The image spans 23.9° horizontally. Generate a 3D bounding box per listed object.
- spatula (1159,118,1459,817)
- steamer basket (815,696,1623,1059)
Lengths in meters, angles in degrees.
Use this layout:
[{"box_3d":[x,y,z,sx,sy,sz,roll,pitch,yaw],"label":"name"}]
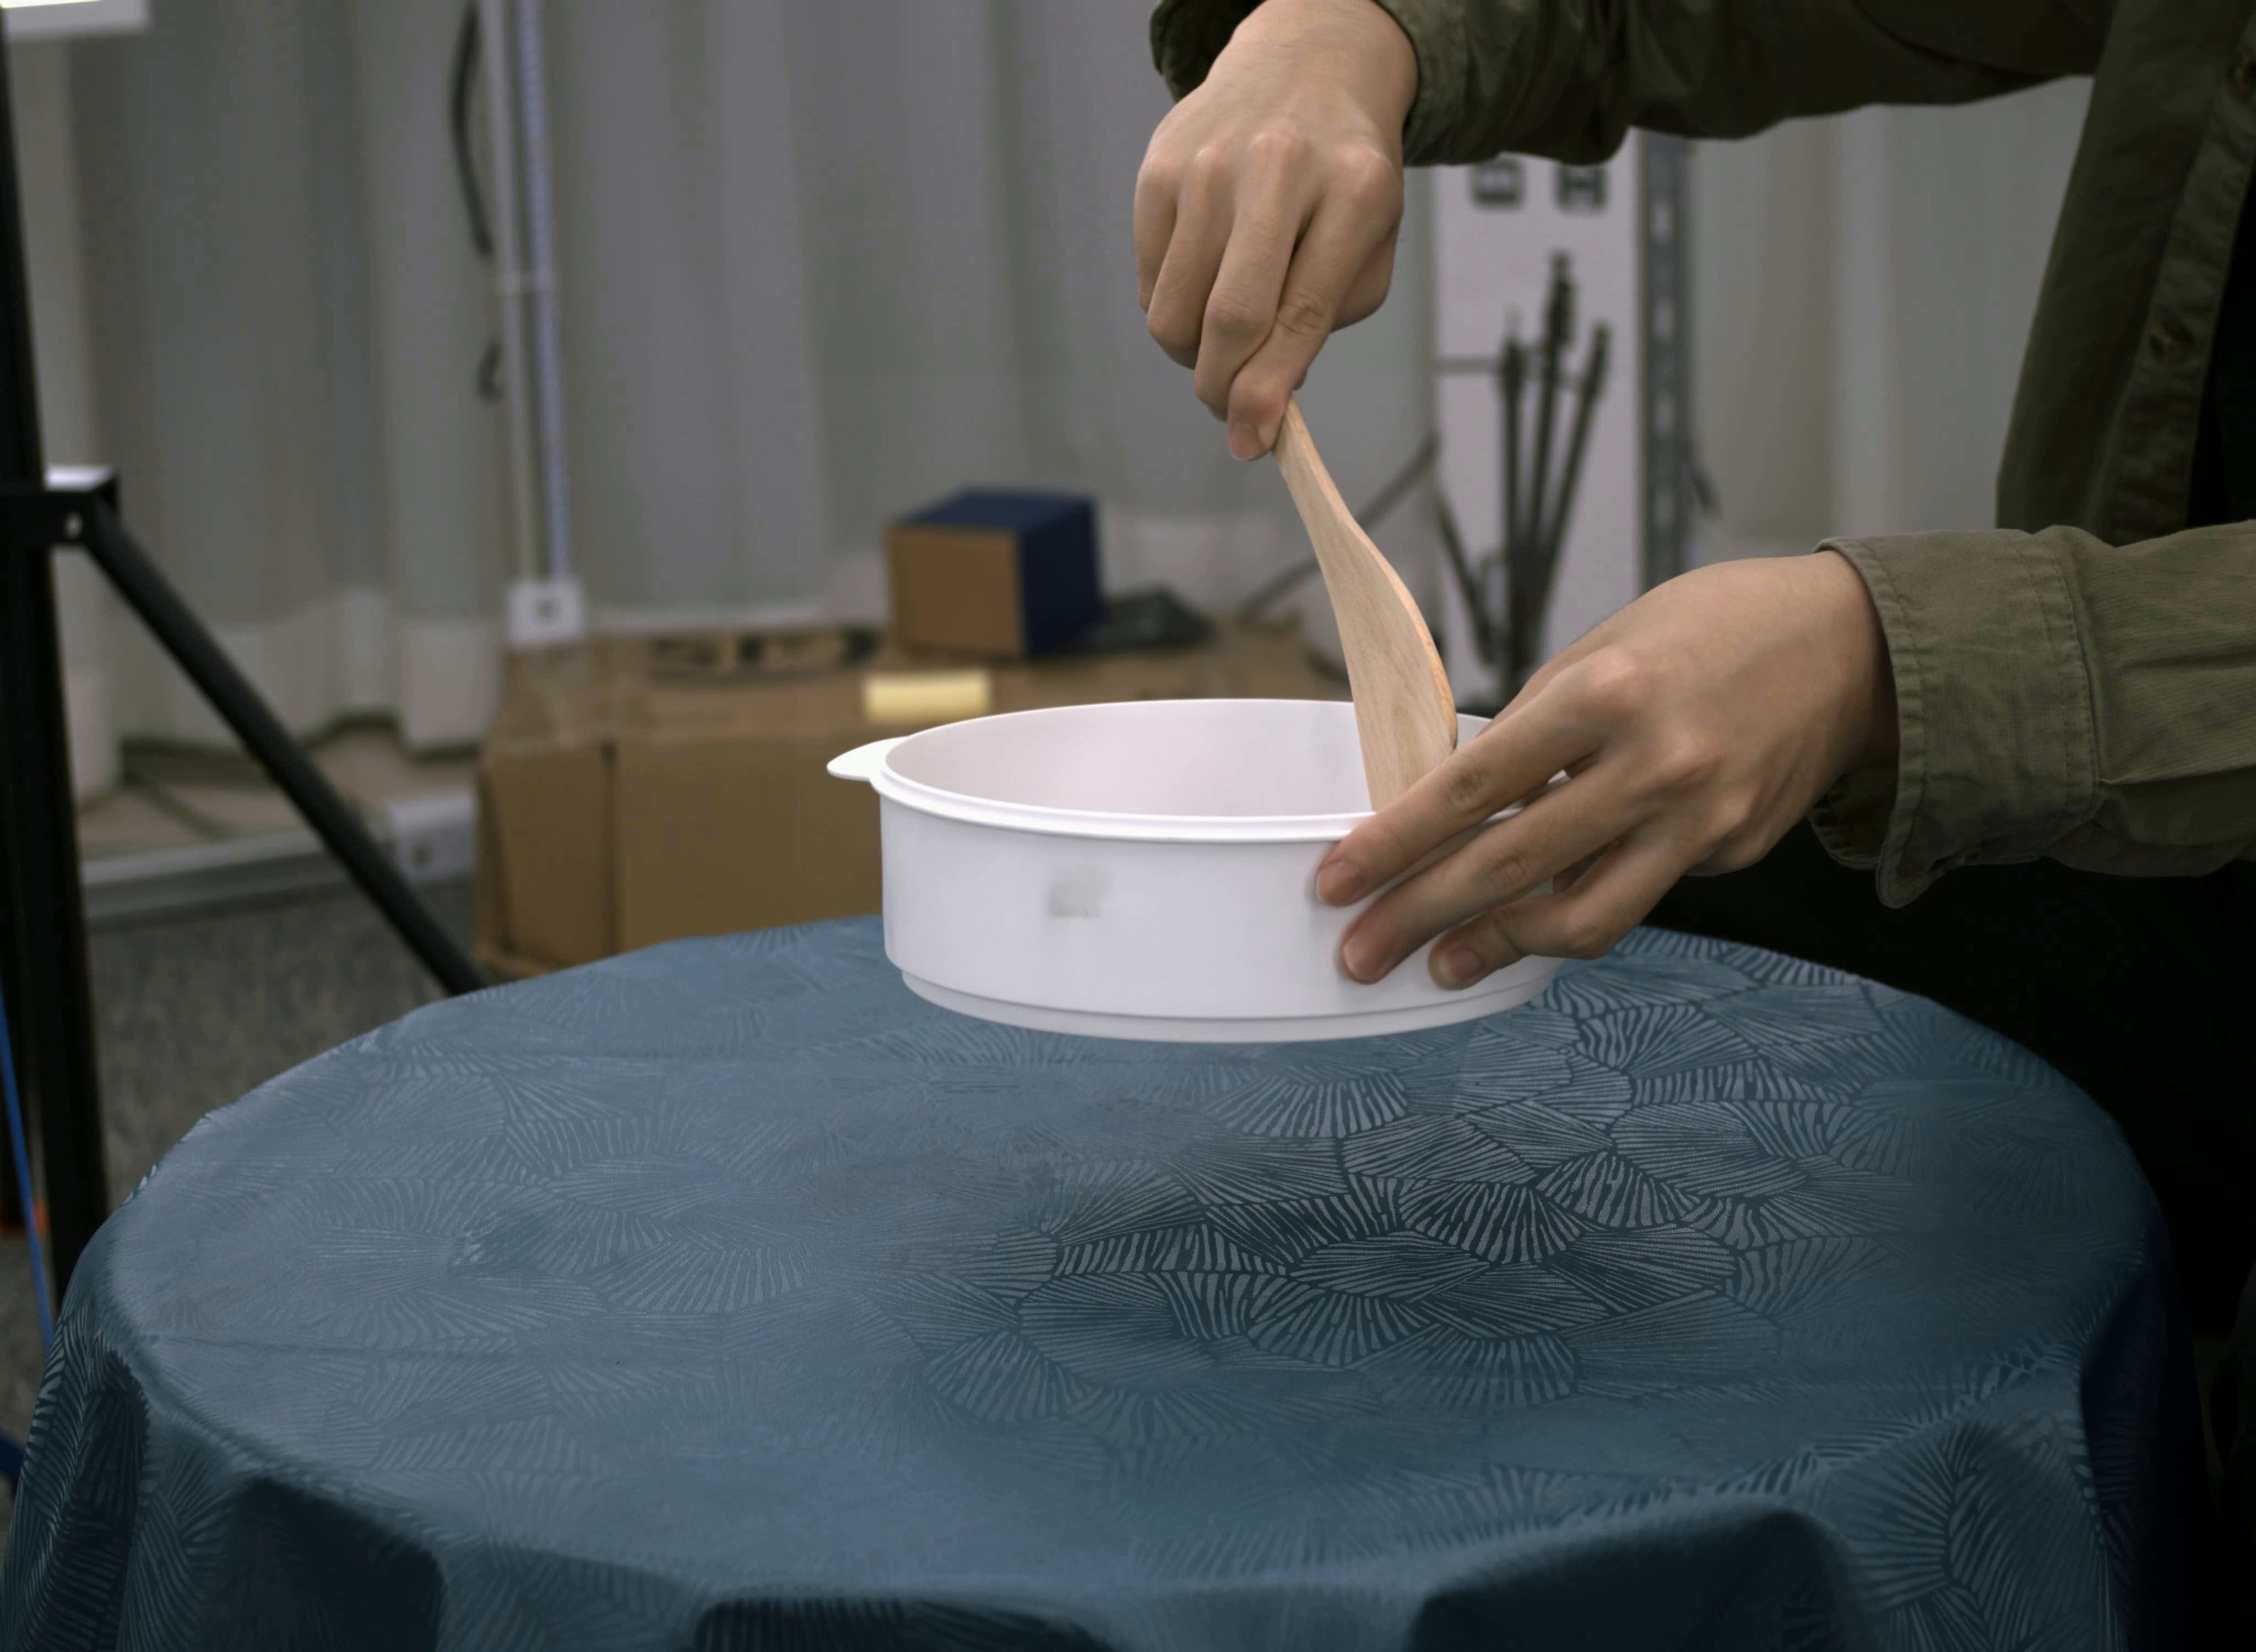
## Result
[{"box_3d":[0.050,-0.105,1.565,0.016,0.080,0.333,-3,43,-17],"label":"spatula"},{"box_3d":[0.024,0.014,1.499,0.233,0.069,0.199,5,12,19],"label":"steamer basket"}]
